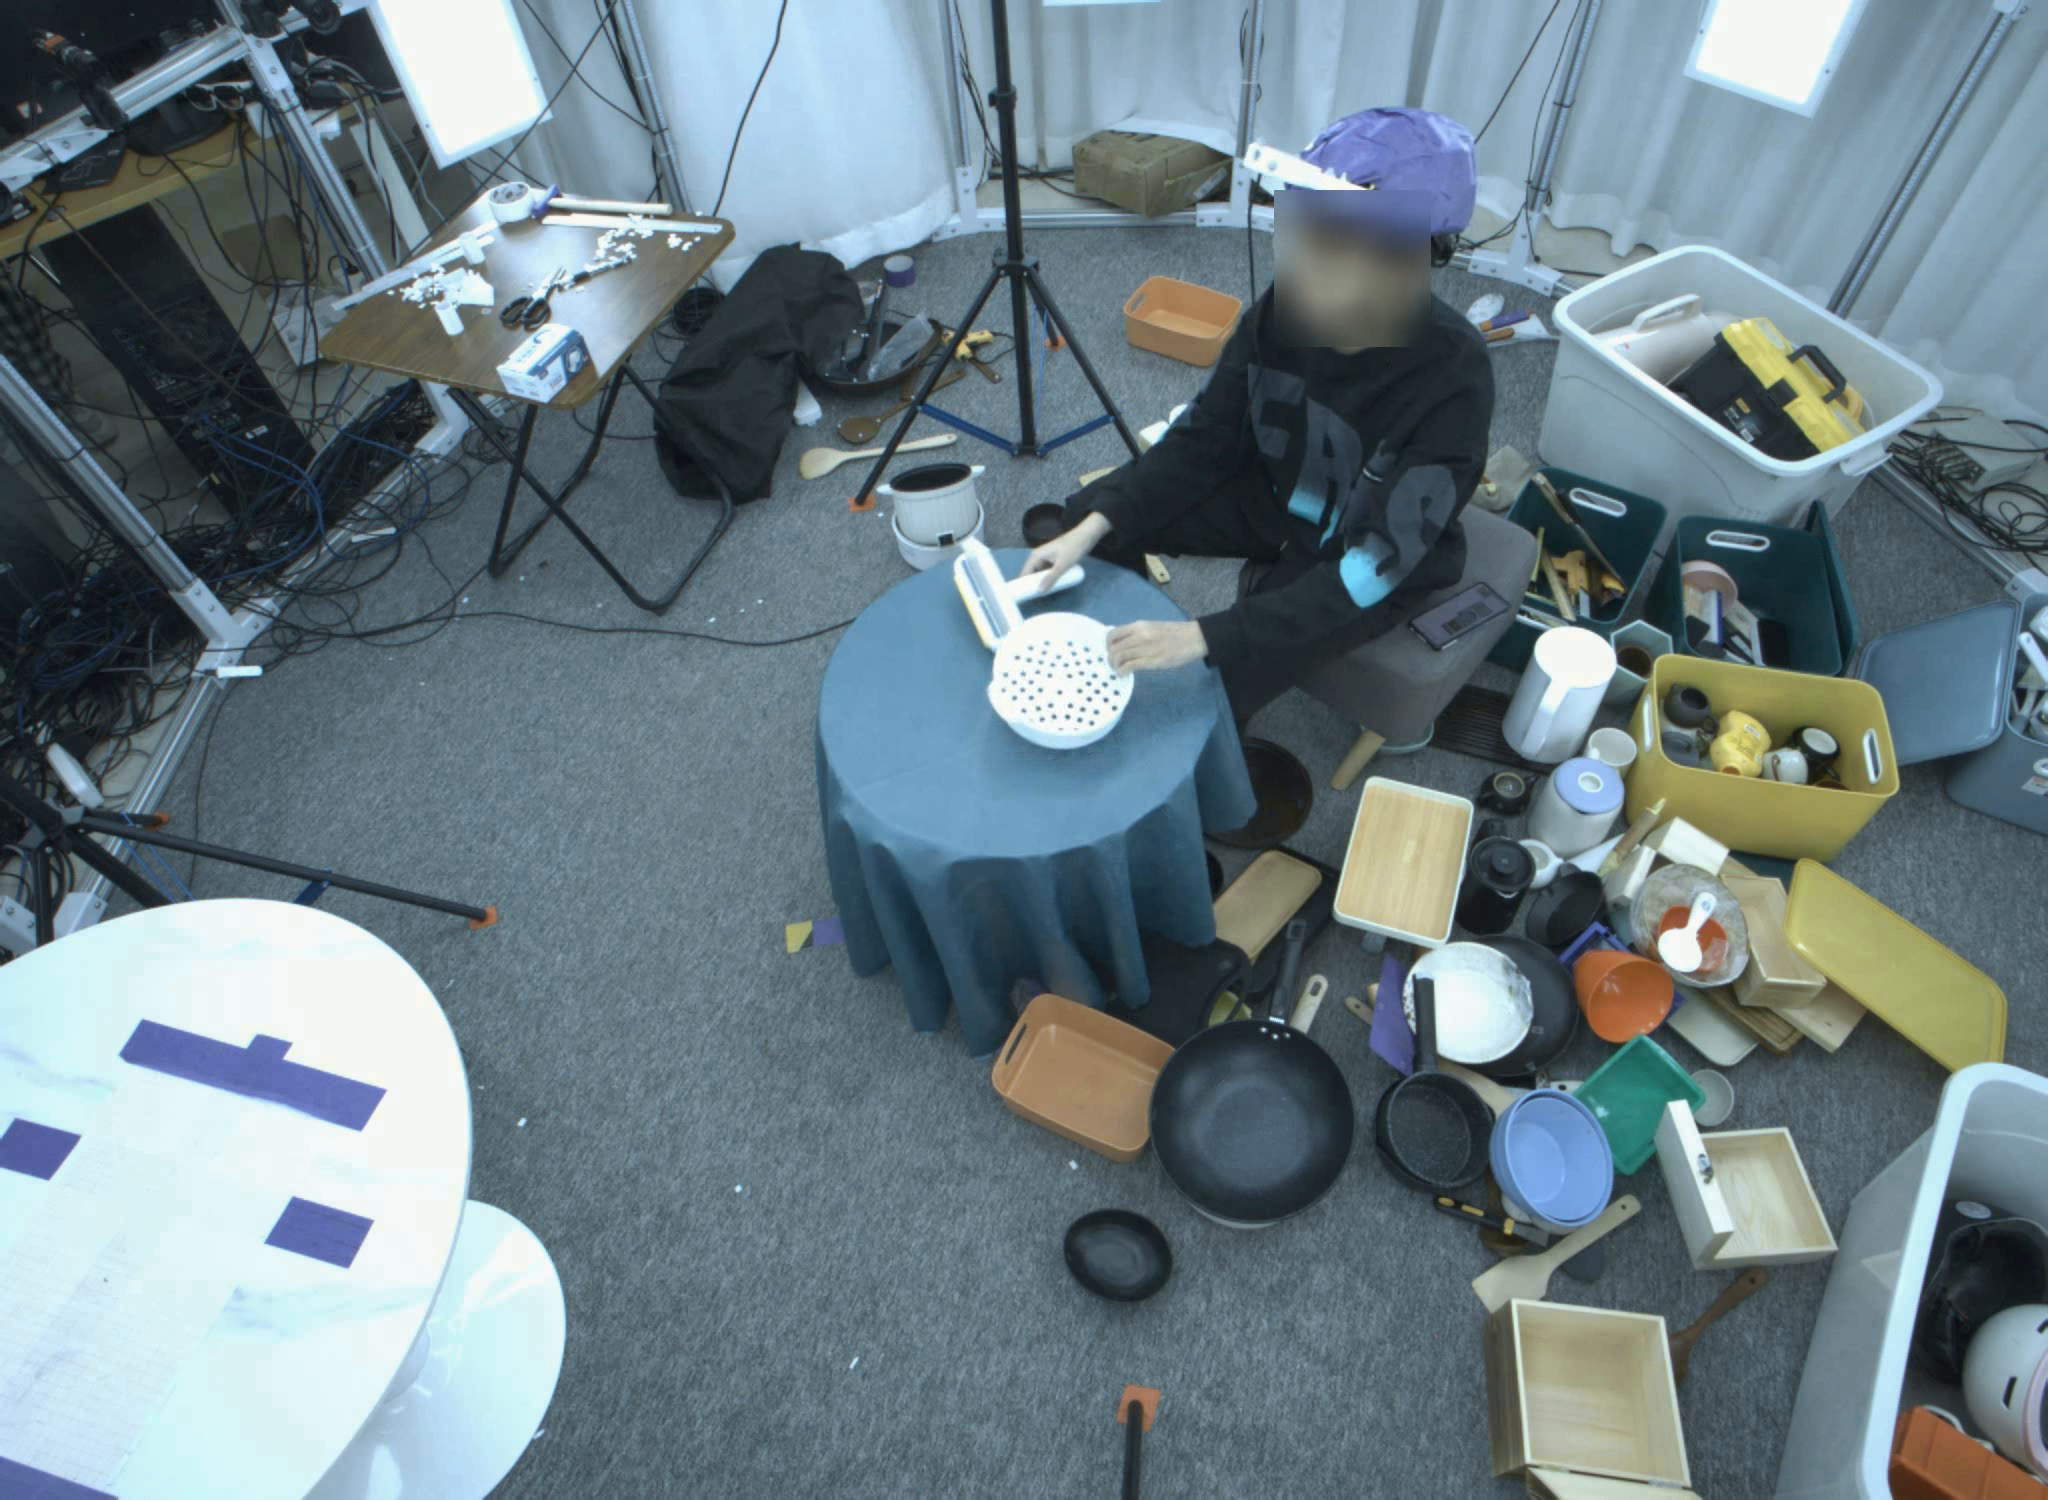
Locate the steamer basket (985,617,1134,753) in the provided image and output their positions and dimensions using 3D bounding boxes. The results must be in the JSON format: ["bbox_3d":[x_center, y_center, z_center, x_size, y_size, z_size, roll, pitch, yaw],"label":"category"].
[{"bbox_3d":[0.049,-0.092,1.780,0.233,0.069,0.199,-27,71,-19],"label":"steamer basket"}]

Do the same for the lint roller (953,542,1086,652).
[{"bbox_3d":[0.001,-0.255,1.908,0.192,0.075,0.190,-22,60,2],"label":"lint roller"}]
